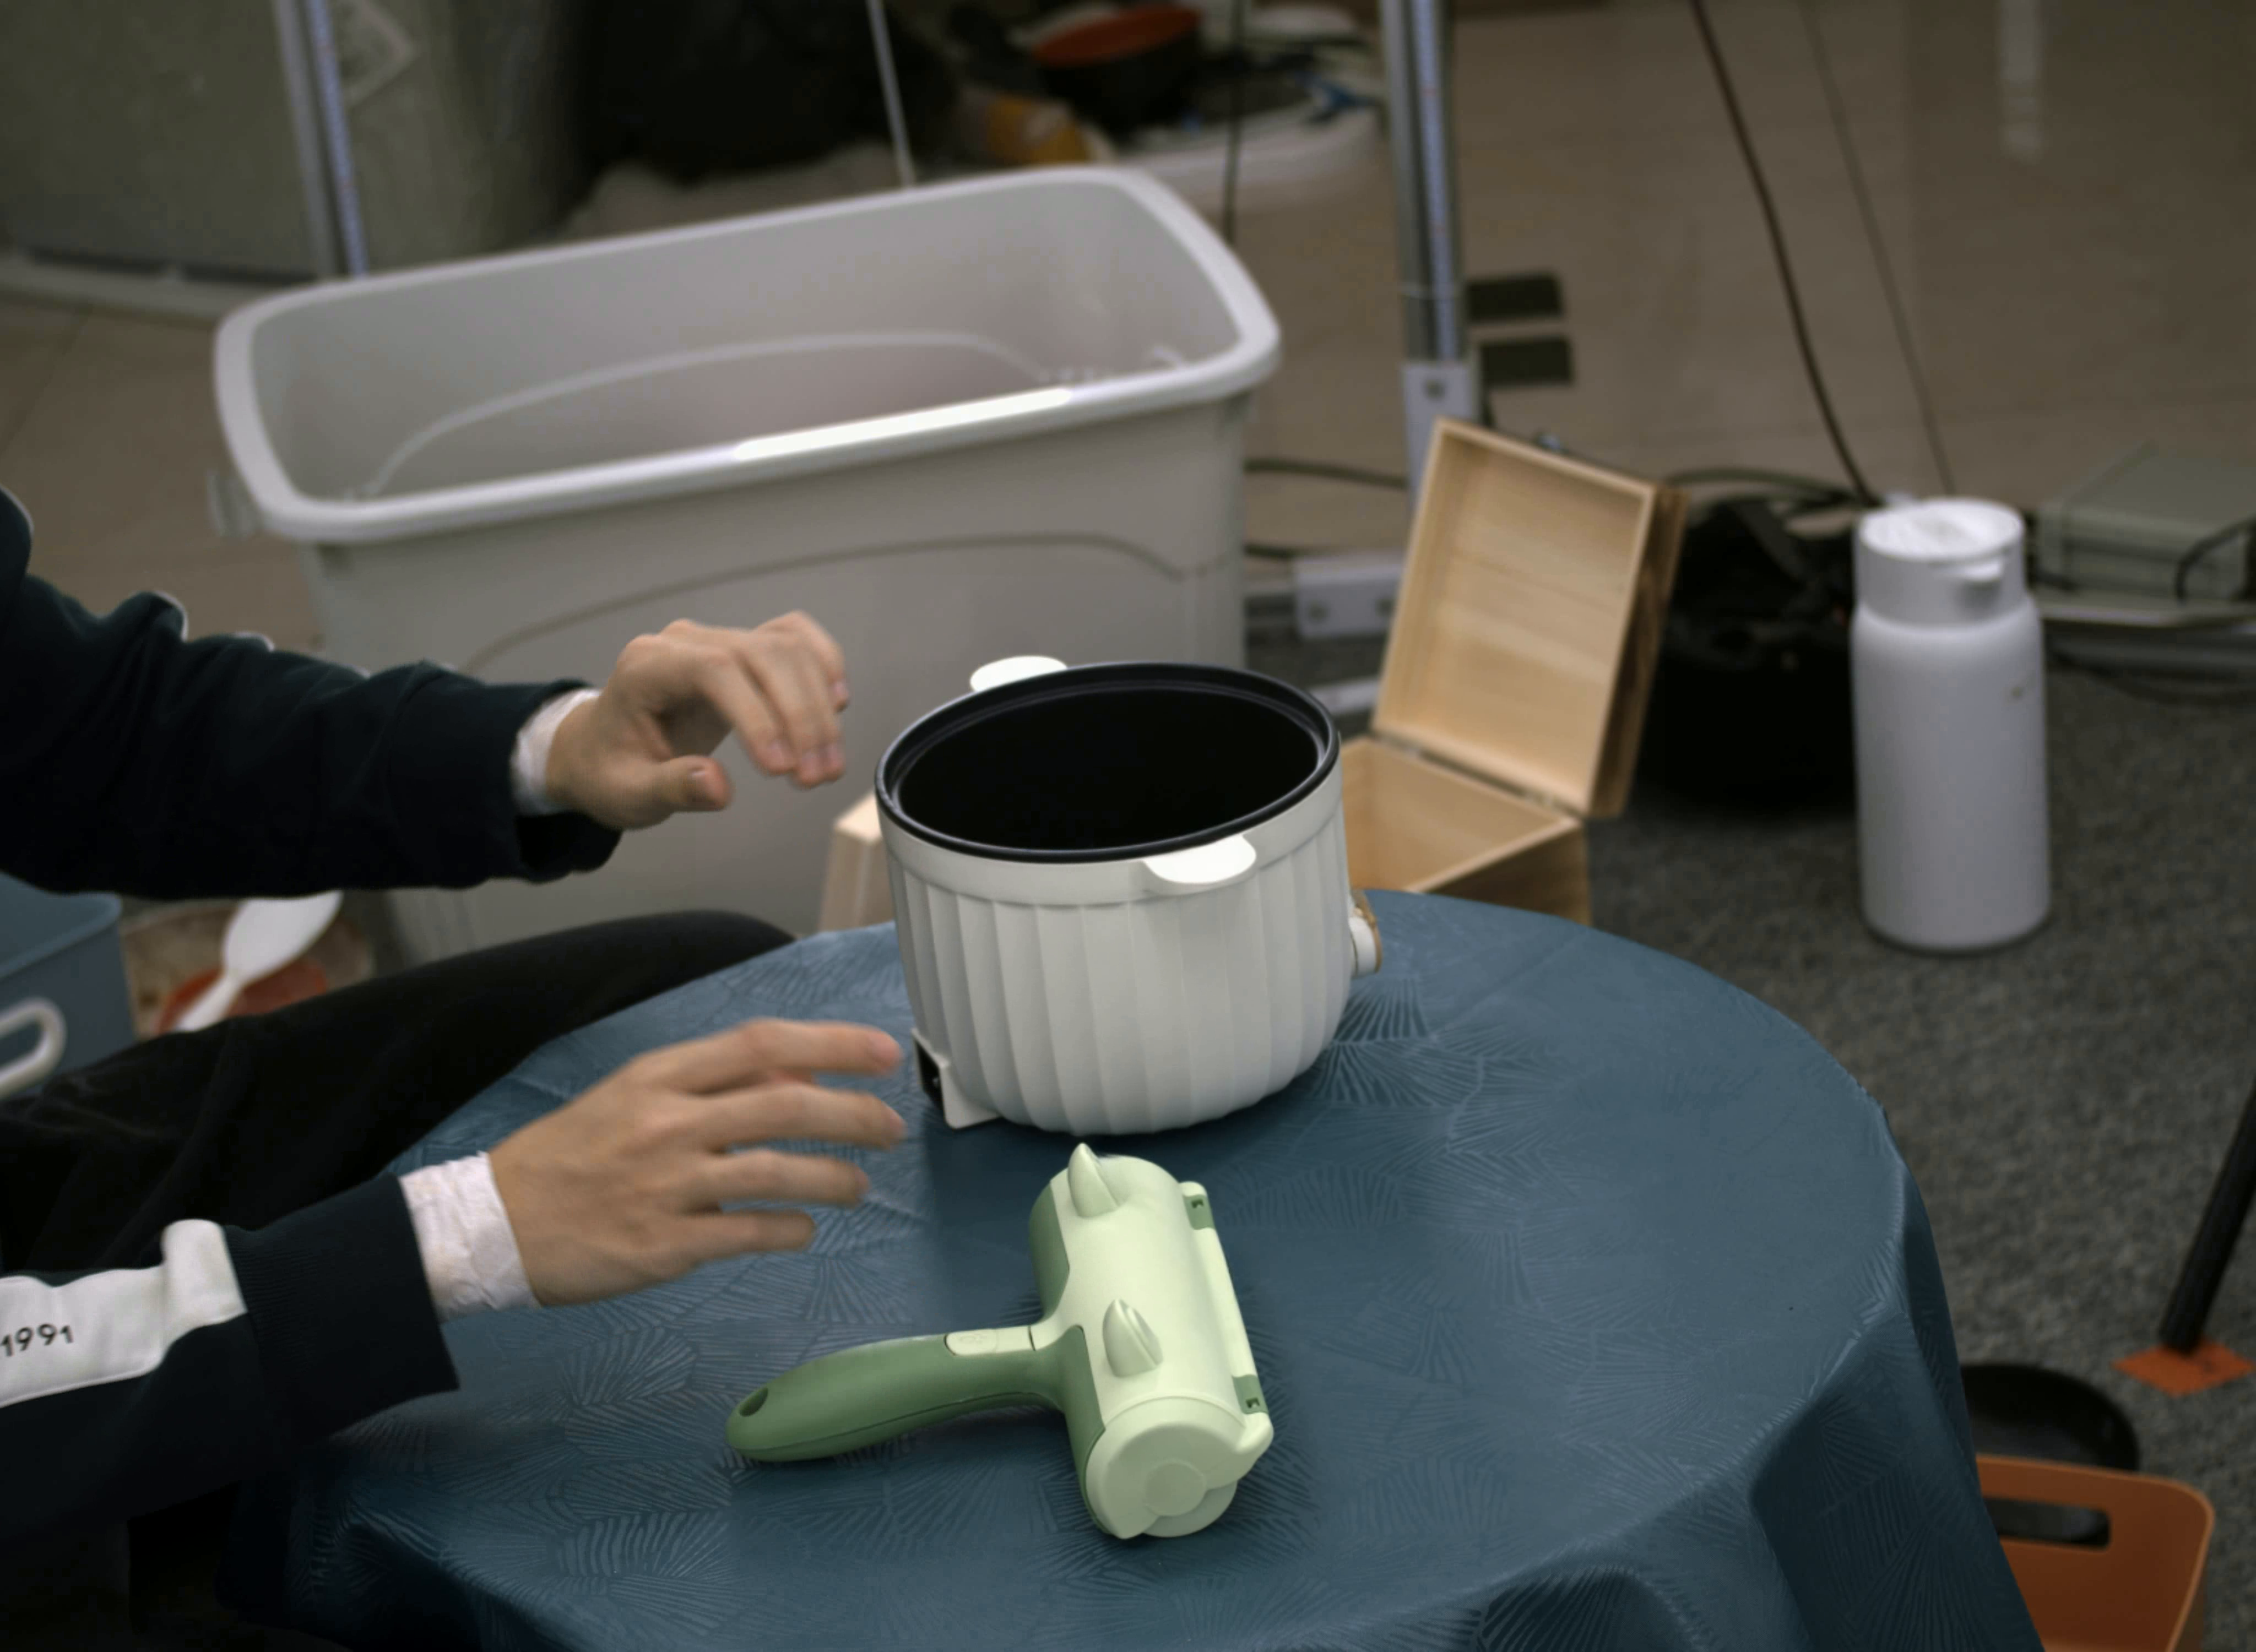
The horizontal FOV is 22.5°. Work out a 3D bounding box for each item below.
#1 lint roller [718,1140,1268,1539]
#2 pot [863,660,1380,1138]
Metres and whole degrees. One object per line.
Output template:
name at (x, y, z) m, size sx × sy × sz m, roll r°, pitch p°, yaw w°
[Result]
lint roller at (-0.053, 0.177, 1.985) m, size 0.183 × 0.083 × 0.195 m, roll -3°, pitch 25°, yaw -6°
pot at (0.001, 0.031, 2.210) m, size 0.190 × 0.145 × 0.237 m, roll -18°, pitch 28°, yaw -15°
